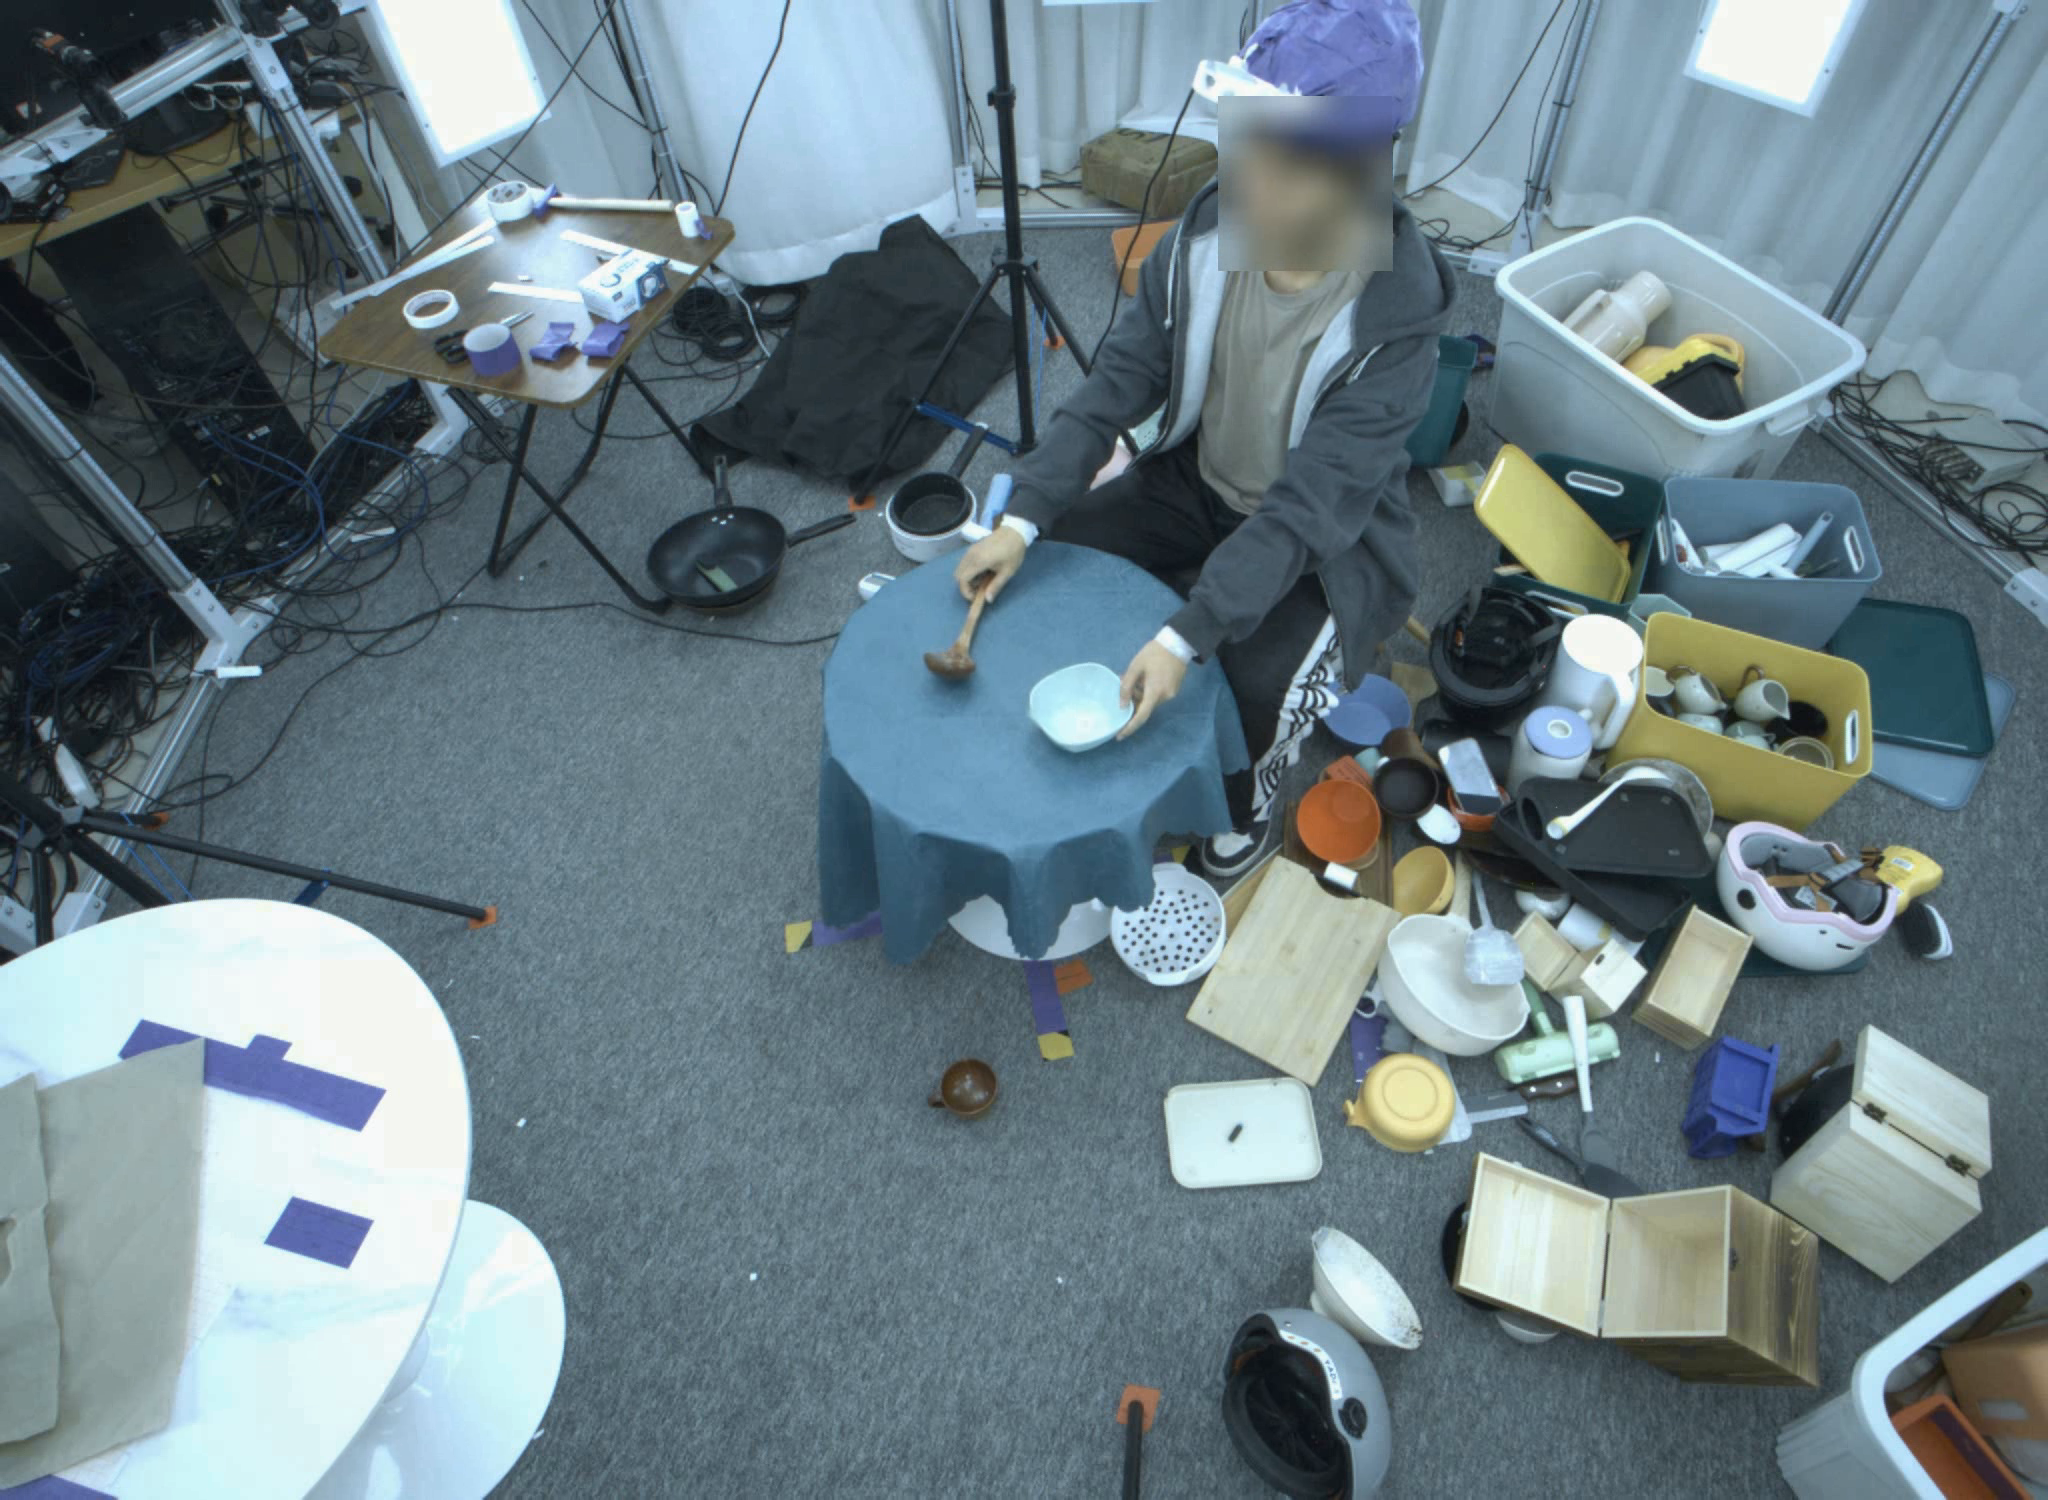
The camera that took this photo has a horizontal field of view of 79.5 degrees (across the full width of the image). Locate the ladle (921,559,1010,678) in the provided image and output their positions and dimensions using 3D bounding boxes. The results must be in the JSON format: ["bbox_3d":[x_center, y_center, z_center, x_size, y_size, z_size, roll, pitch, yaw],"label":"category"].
[{"bbox_3d":[-0.081,-0.217,1.895,0.081,0.077,0.273,18,59,7],"label":"ladle"}]

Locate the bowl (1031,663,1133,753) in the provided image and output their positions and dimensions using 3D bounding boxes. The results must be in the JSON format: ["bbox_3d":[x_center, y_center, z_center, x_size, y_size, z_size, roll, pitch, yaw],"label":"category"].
[{"bbox_3d":[0.086,-0.051,1.786,0.151,0.059,0.150,-3,55,5],"label":"bowl"}]
